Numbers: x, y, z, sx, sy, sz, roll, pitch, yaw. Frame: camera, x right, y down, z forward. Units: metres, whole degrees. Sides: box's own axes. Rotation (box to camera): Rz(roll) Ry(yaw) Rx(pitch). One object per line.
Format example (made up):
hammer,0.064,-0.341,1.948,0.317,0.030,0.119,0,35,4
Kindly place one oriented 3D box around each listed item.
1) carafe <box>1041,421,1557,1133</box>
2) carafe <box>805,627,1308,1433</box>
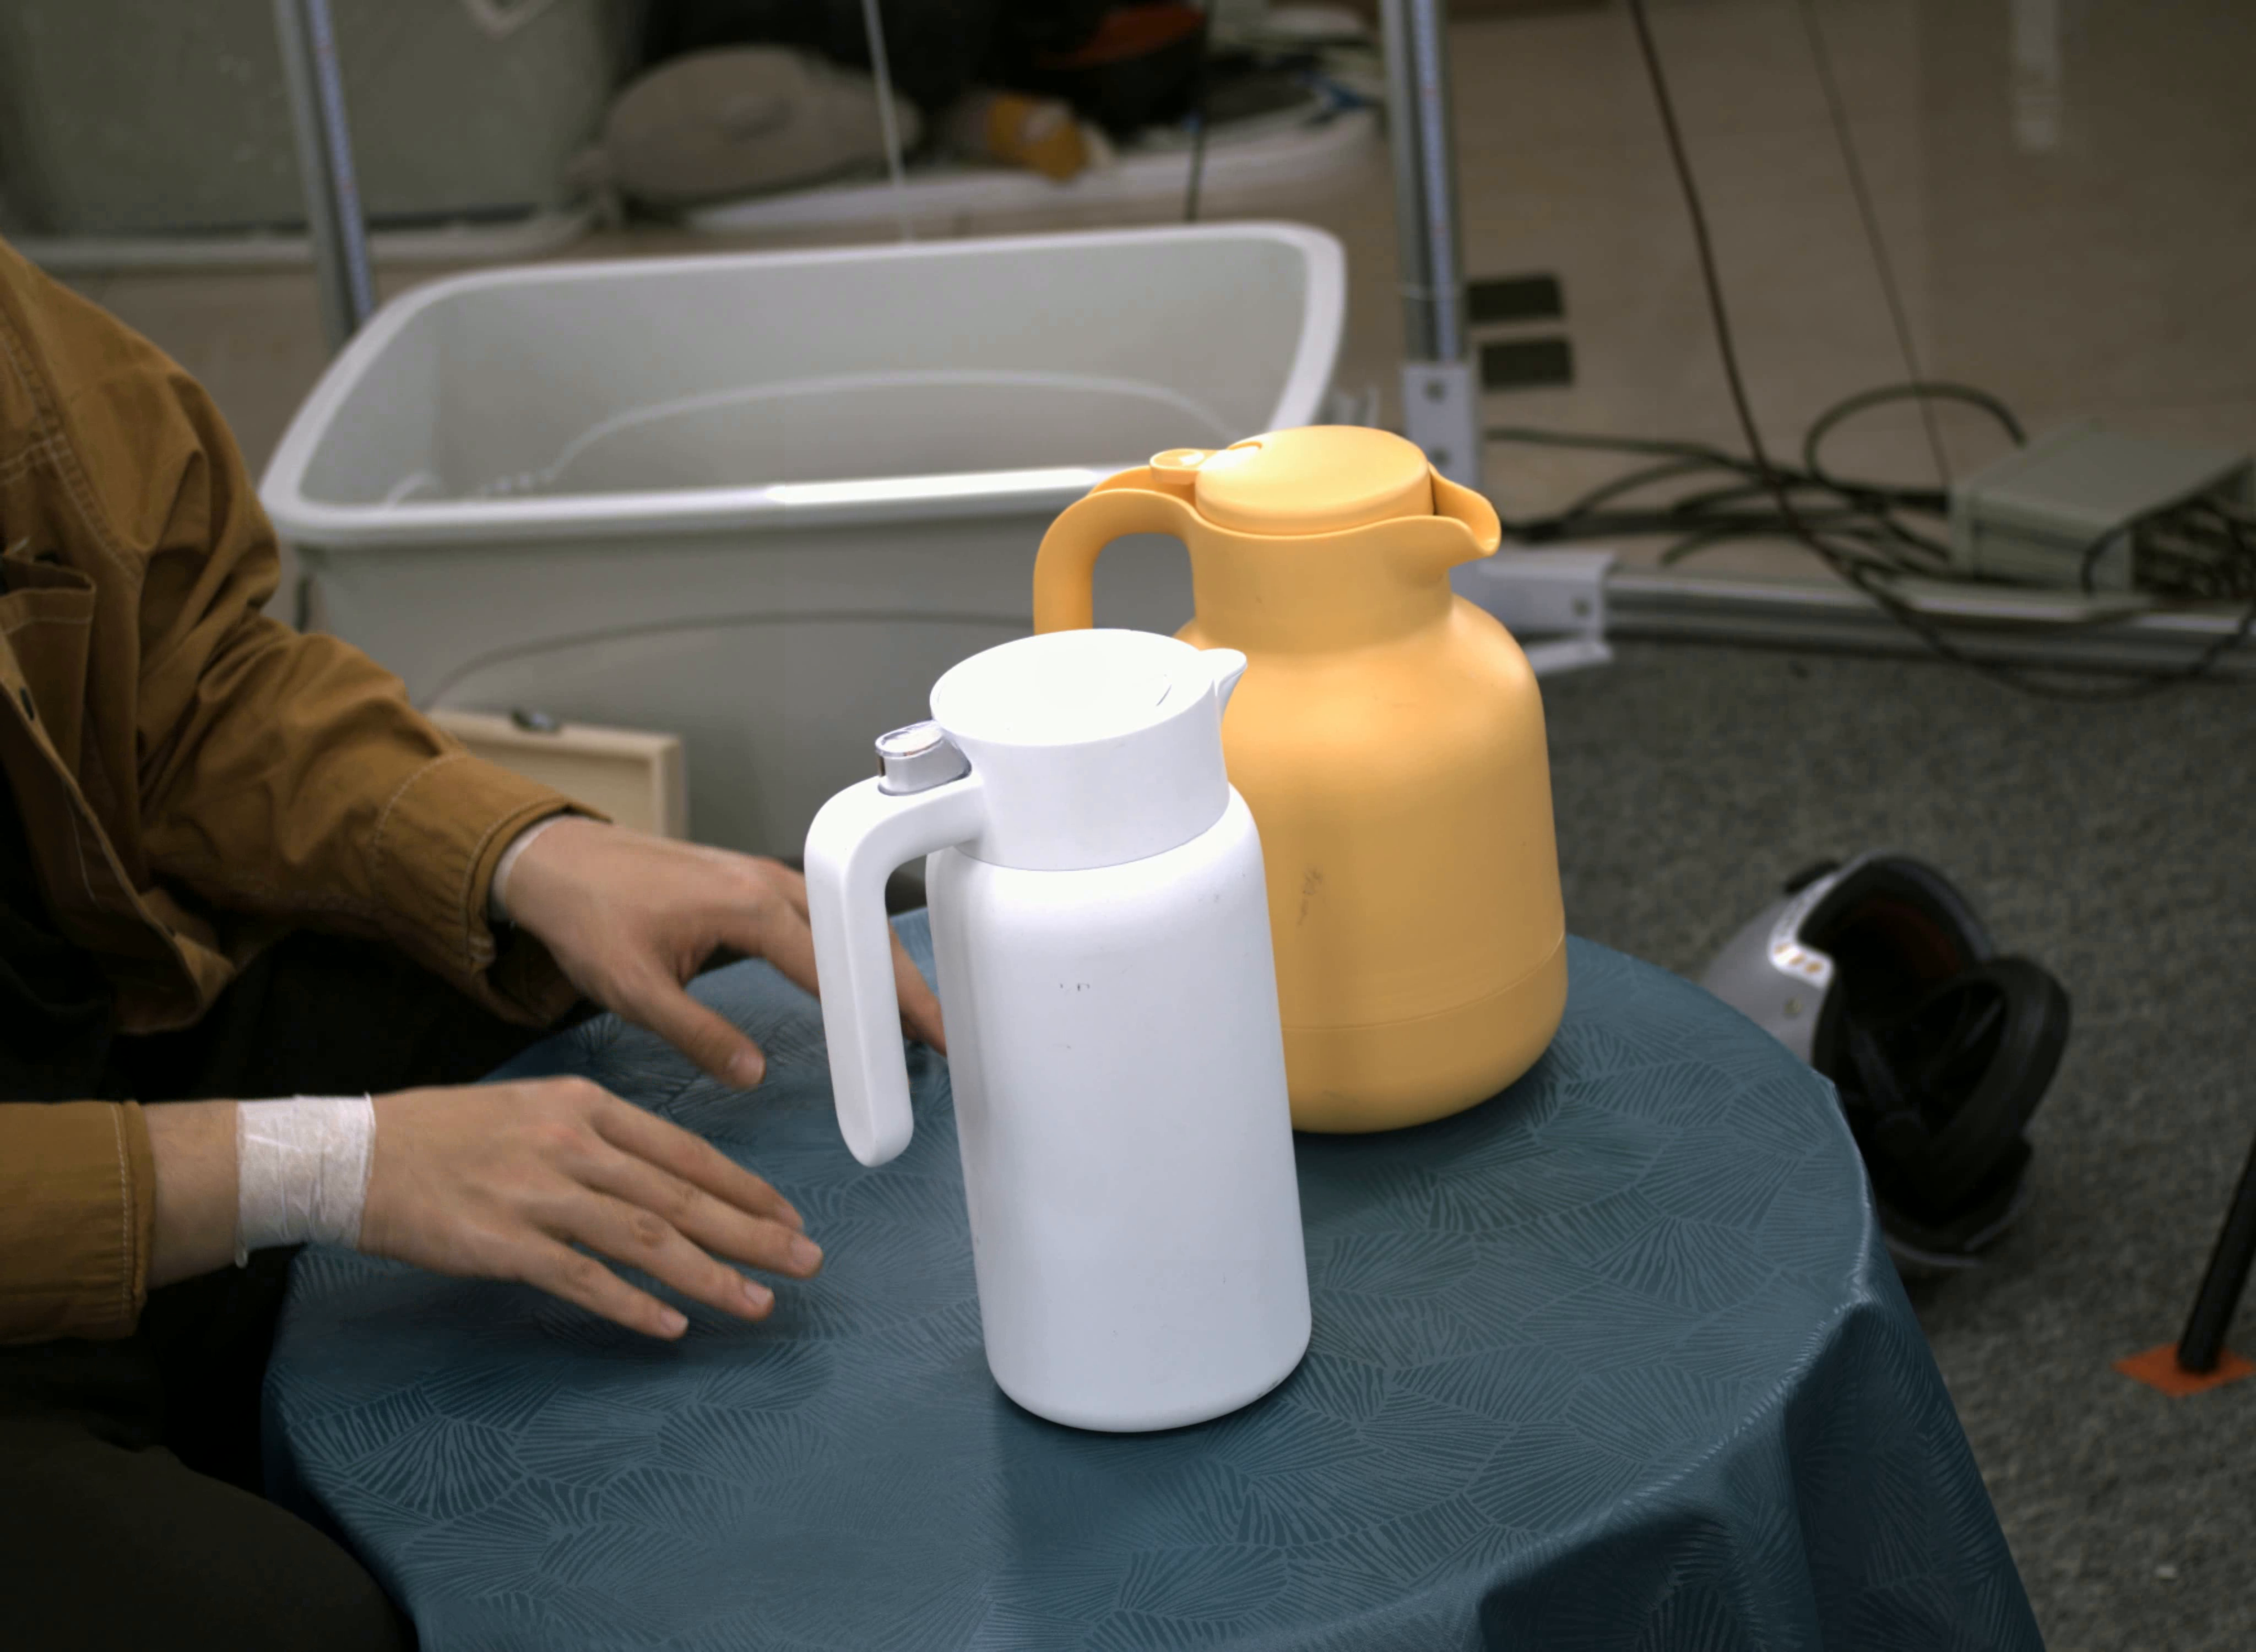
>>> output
carafe,0.063,-0.026,2.172,0.201,0.264,0.161,11,28,28
carafe,-0.020,0.077,1.967,0.172,0.273,0.122,-20,31,-26
